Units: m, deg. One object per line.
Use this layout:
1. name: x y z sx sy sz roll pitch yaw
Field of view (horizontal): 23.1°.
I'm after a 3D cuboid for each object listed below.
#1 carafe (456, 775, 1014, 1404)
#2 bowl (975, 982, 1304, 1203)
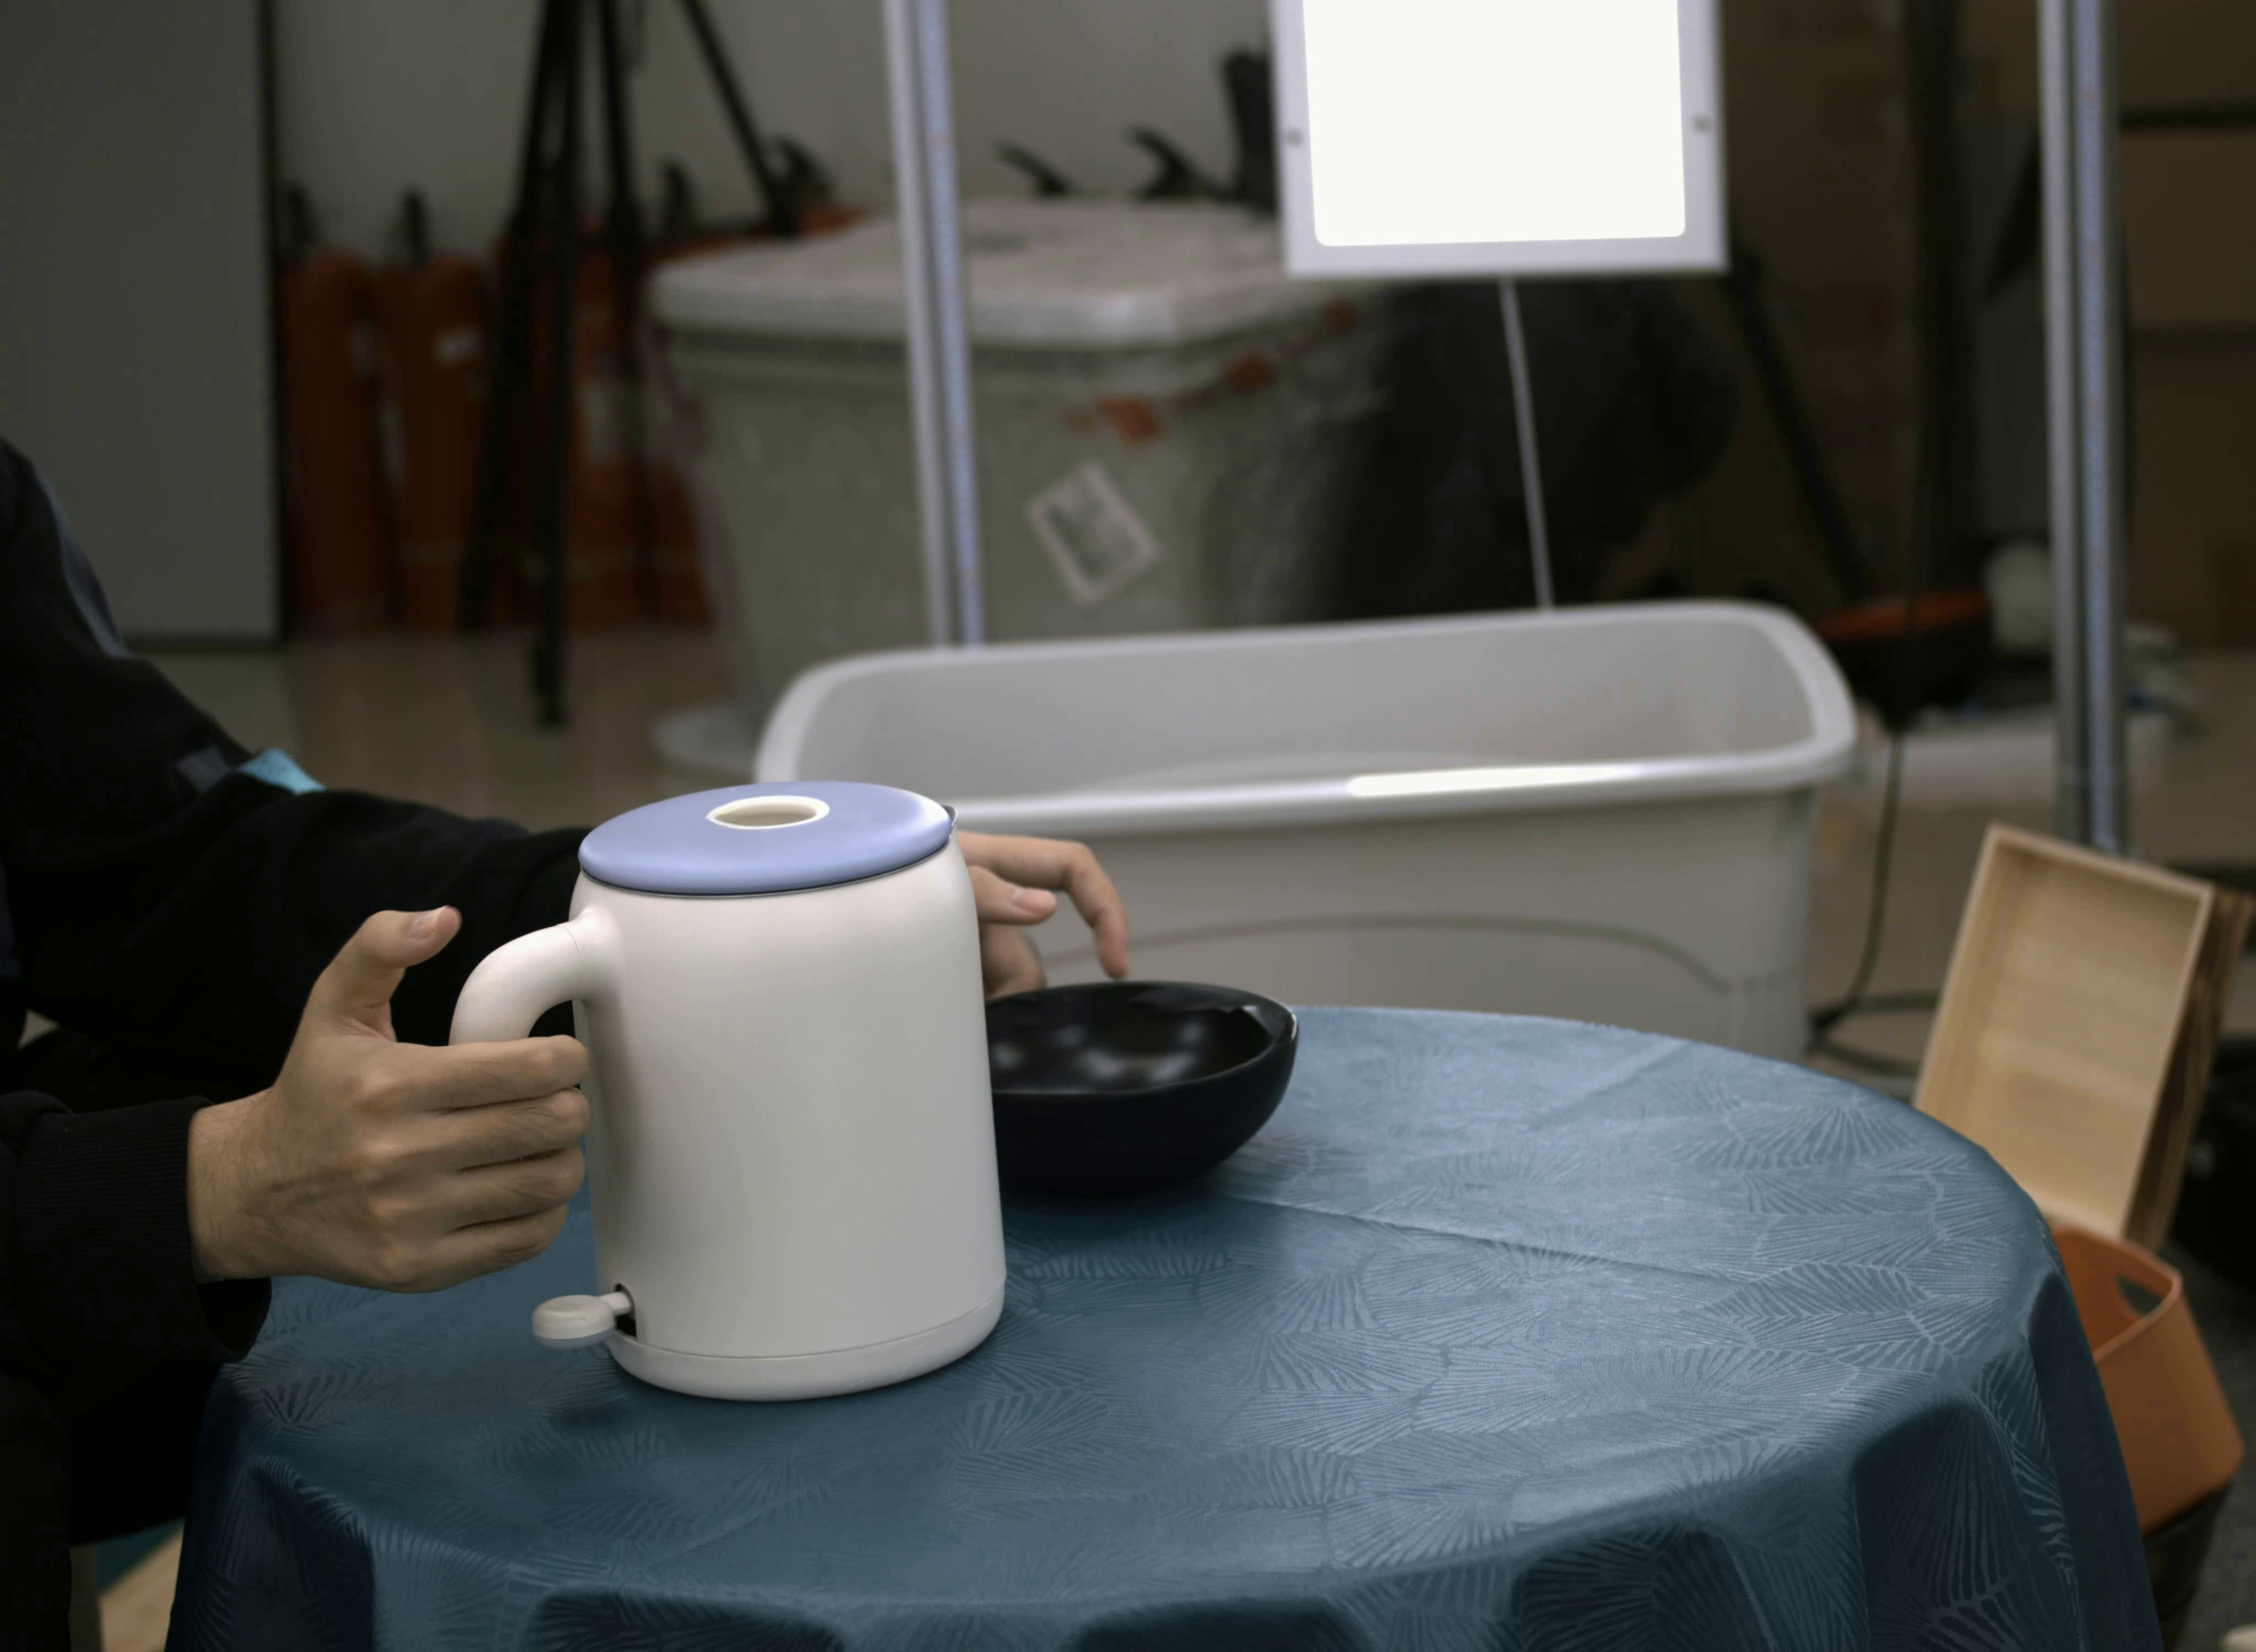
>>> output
1. carafe: -0.128 0.088 1.741 0.187 0.183 0.135 -16 17 -30
2. bowl: -0.006 0.097 1.918 0.140 0.050 0.140 -7 14 0
